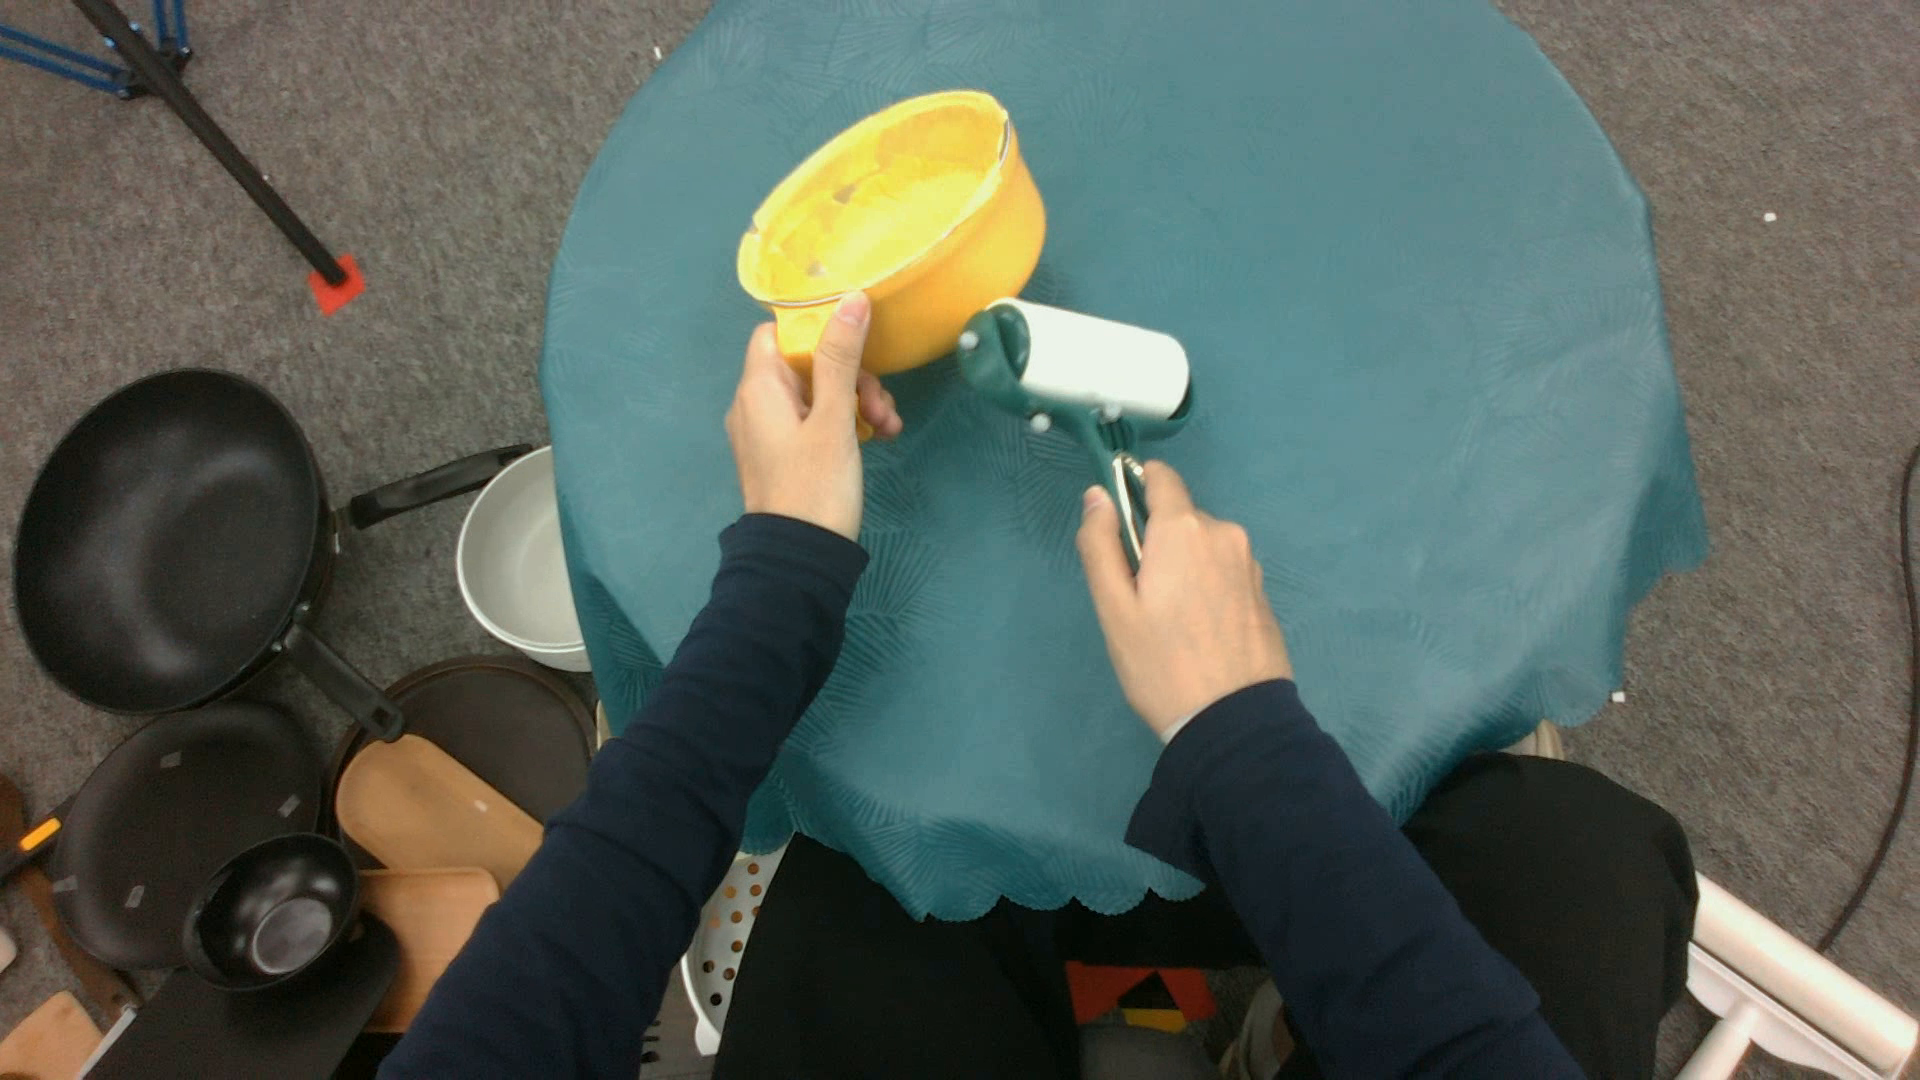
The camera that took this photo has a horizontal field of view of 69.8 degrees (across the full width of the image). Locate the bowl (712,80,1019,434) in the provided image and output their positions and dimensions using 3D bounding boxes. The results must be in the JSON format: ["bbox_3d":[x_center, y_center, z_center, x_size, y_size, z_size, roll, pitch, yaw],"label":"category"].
[{"bbox_3d":[-0.047,-0.143,0.686,0.152,0.074,0.180,-5,51,26],"label":"bowl"}]

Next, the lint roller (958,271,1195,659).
[{"bbox_3d":[0.075,-0.036,0.619,0.134,0.048,0.180,4,56,-39],"label":"lint roller"}]
